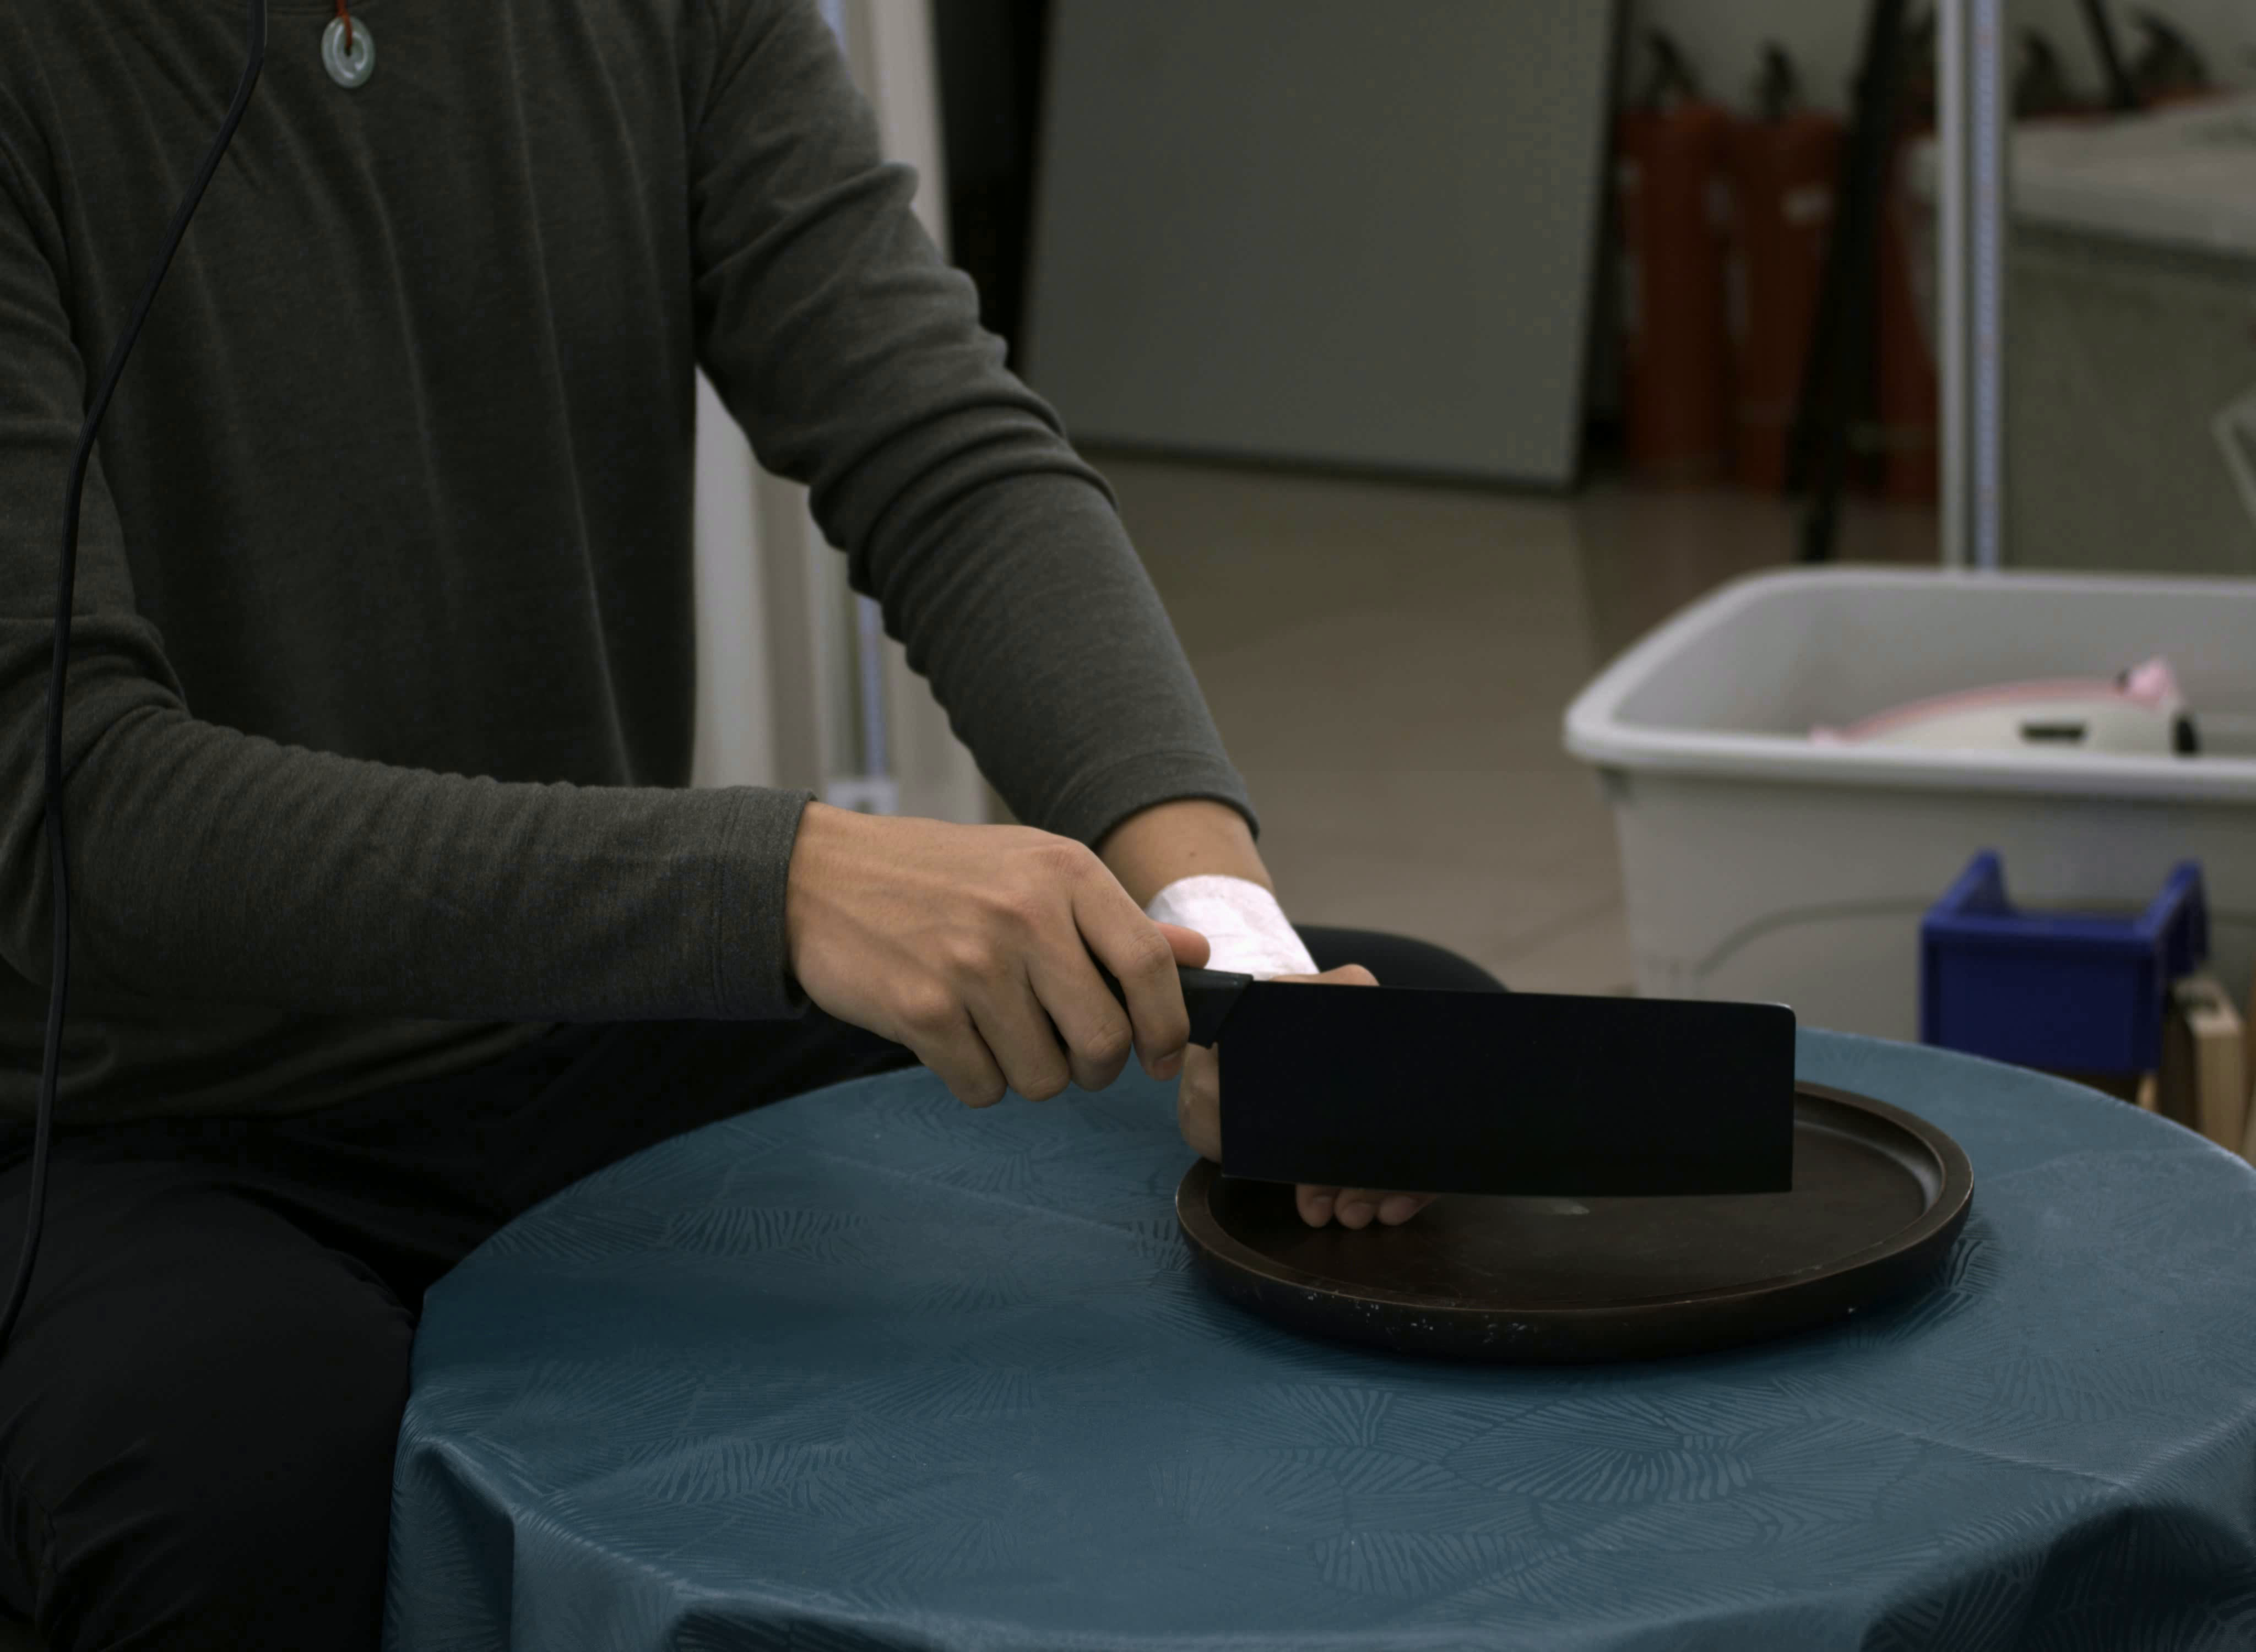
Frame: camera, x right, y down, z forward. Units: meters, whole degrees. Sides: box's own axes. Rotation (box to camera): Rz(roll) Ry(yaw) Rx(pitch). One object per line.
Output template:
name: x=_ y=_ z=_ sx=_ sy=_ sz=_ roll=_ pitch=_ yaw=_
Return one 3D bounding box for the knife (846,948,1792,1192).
knife: x=0.057 y=0.074 z=1.661 sx=0.301 sy=0.082 sz=0.020 roll=6 pitch=14 yaw=14

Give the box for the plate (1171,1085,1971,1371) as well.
plate: x=0.138 y=0.121 z=1.687 sx=0.251 sy=0.029 sz=0.255 roll=-5 pitch=14 yaw=0
